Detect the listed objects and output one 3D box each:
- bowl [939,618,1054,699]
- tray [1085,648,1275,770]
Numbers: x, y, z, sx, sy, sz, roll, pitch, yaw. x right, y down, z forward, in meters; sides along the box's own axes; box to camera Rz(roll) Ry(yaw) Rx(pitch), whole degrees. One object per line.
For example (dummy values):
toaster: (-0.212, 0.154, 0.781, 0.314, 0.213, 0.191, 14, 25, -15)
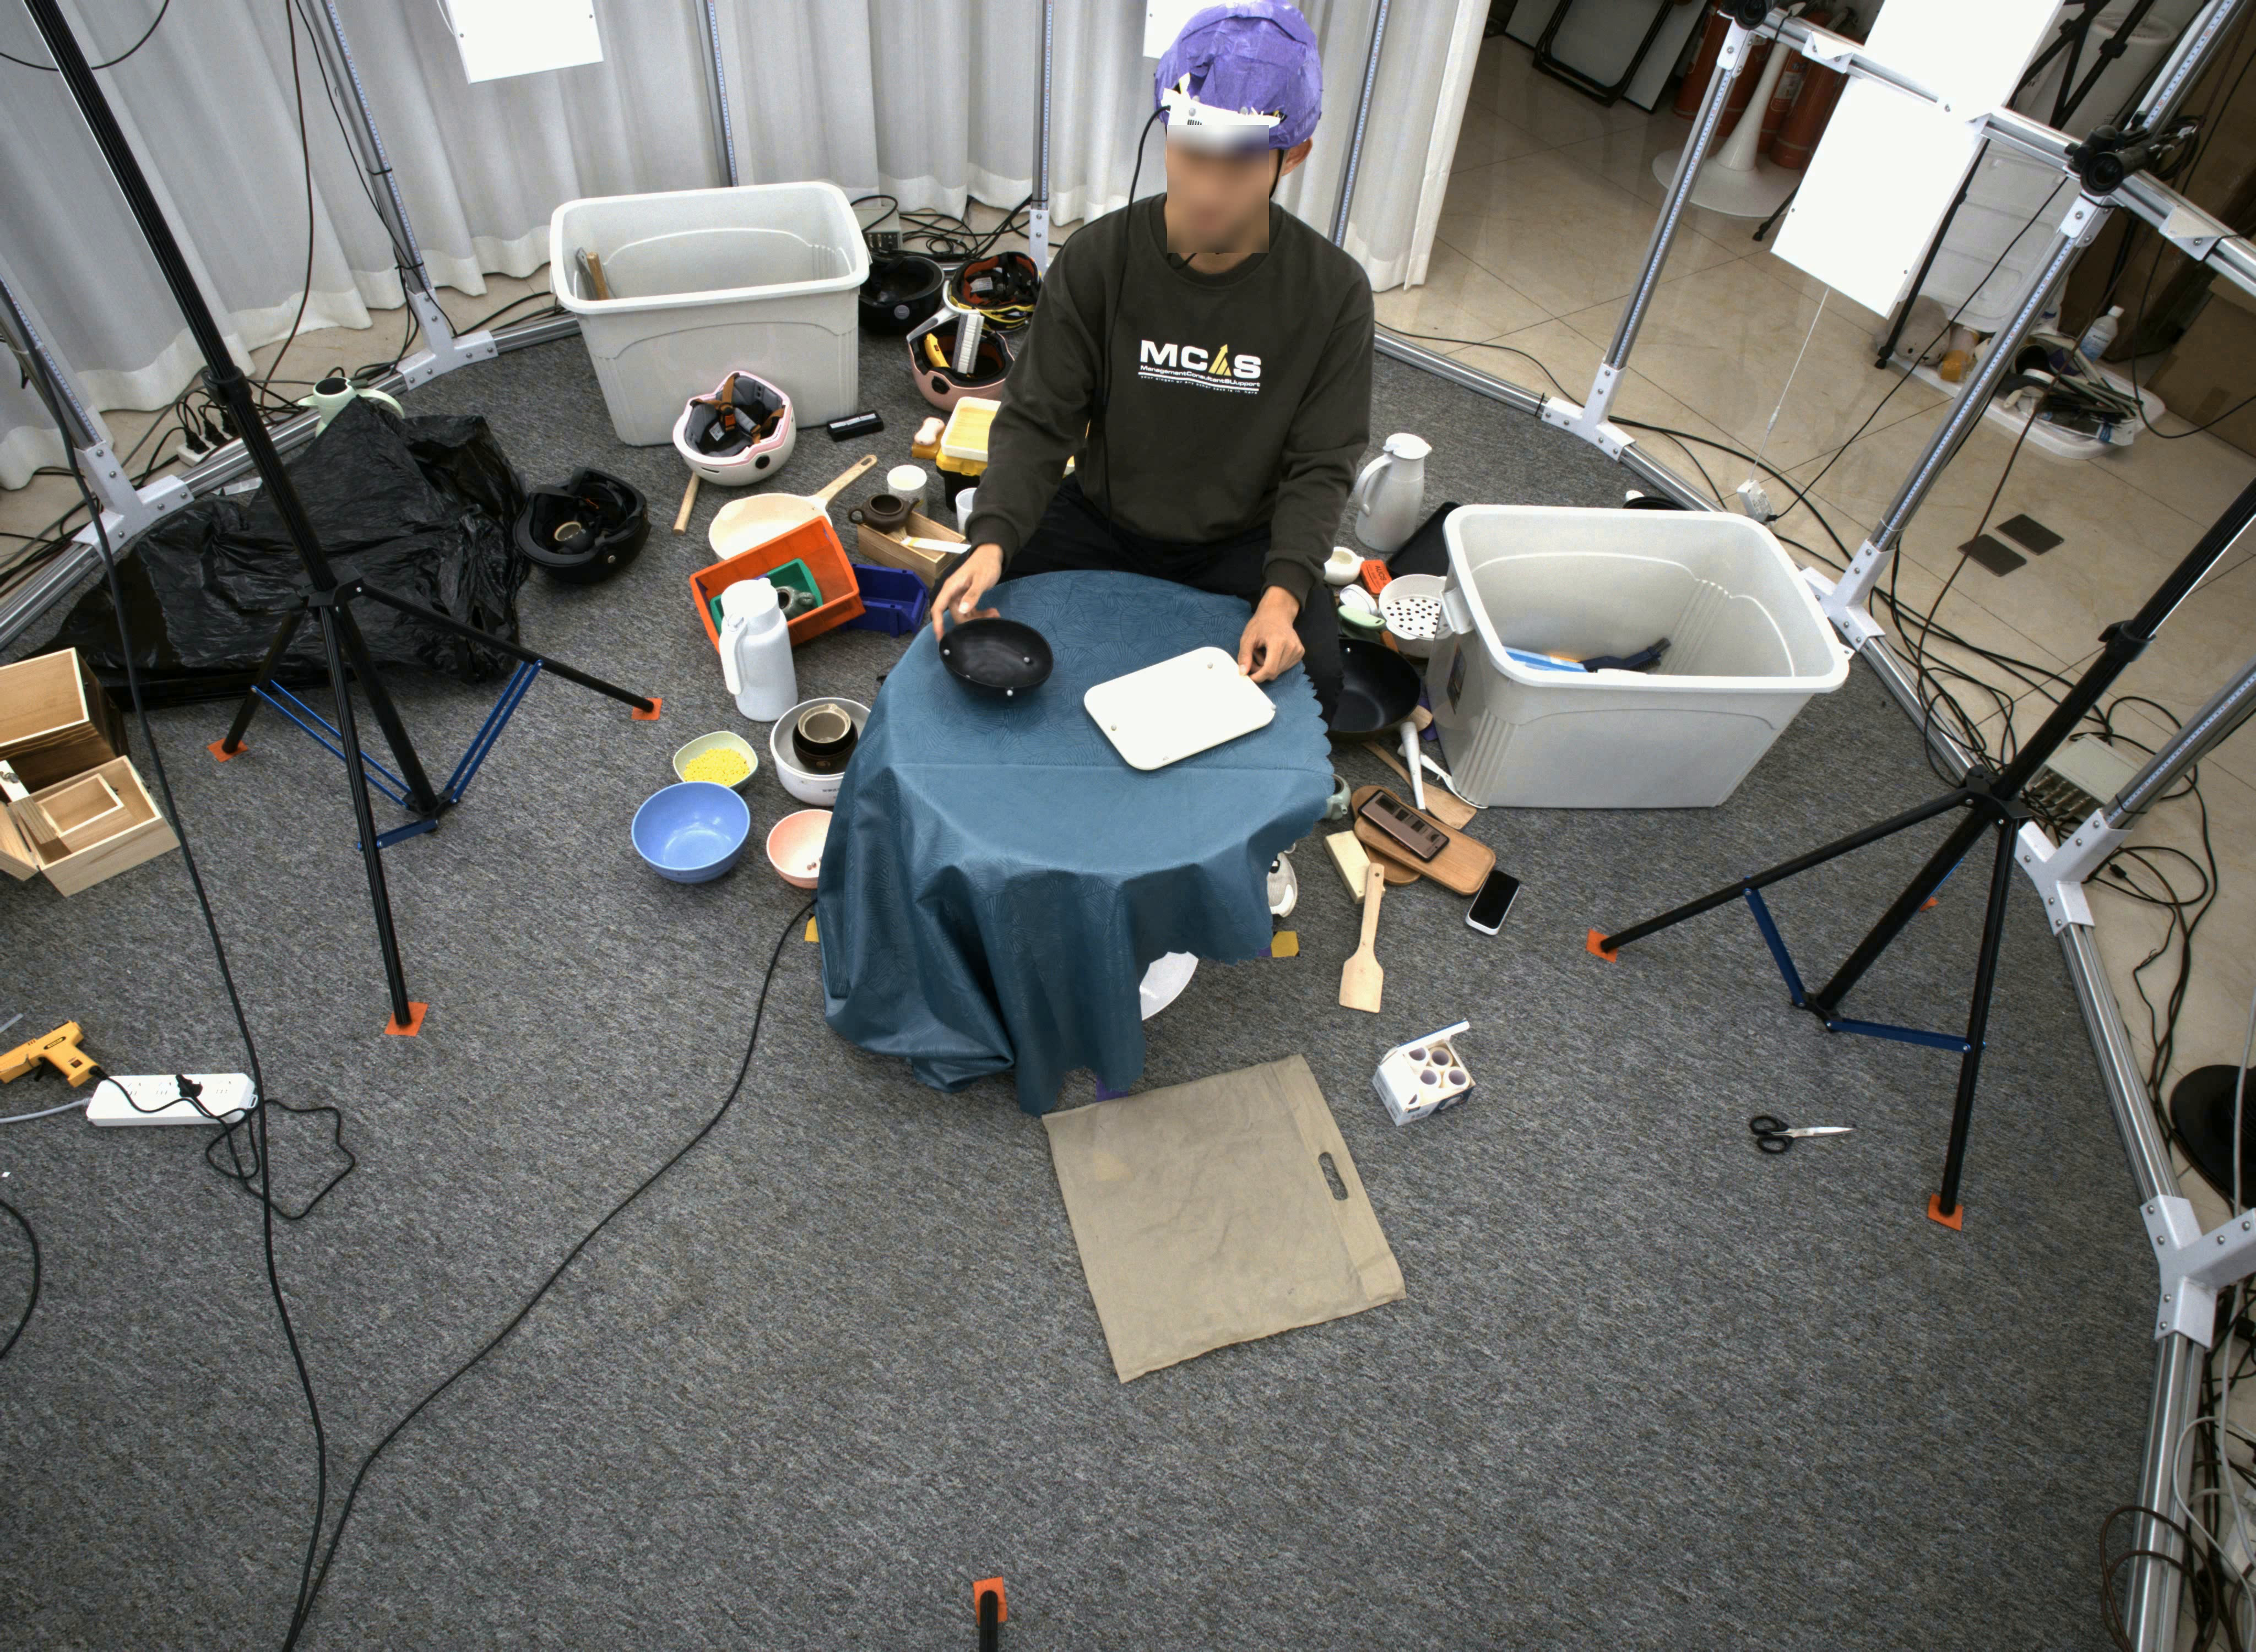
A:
bowl: (-0.185, -0.224, 1.805, 0.171, 0.065, 0.139, 23, 50, 17)
tray: (0.073, -0.166, 1.803, 0.240, 0.017, 0.175, -22, 53, -22)
